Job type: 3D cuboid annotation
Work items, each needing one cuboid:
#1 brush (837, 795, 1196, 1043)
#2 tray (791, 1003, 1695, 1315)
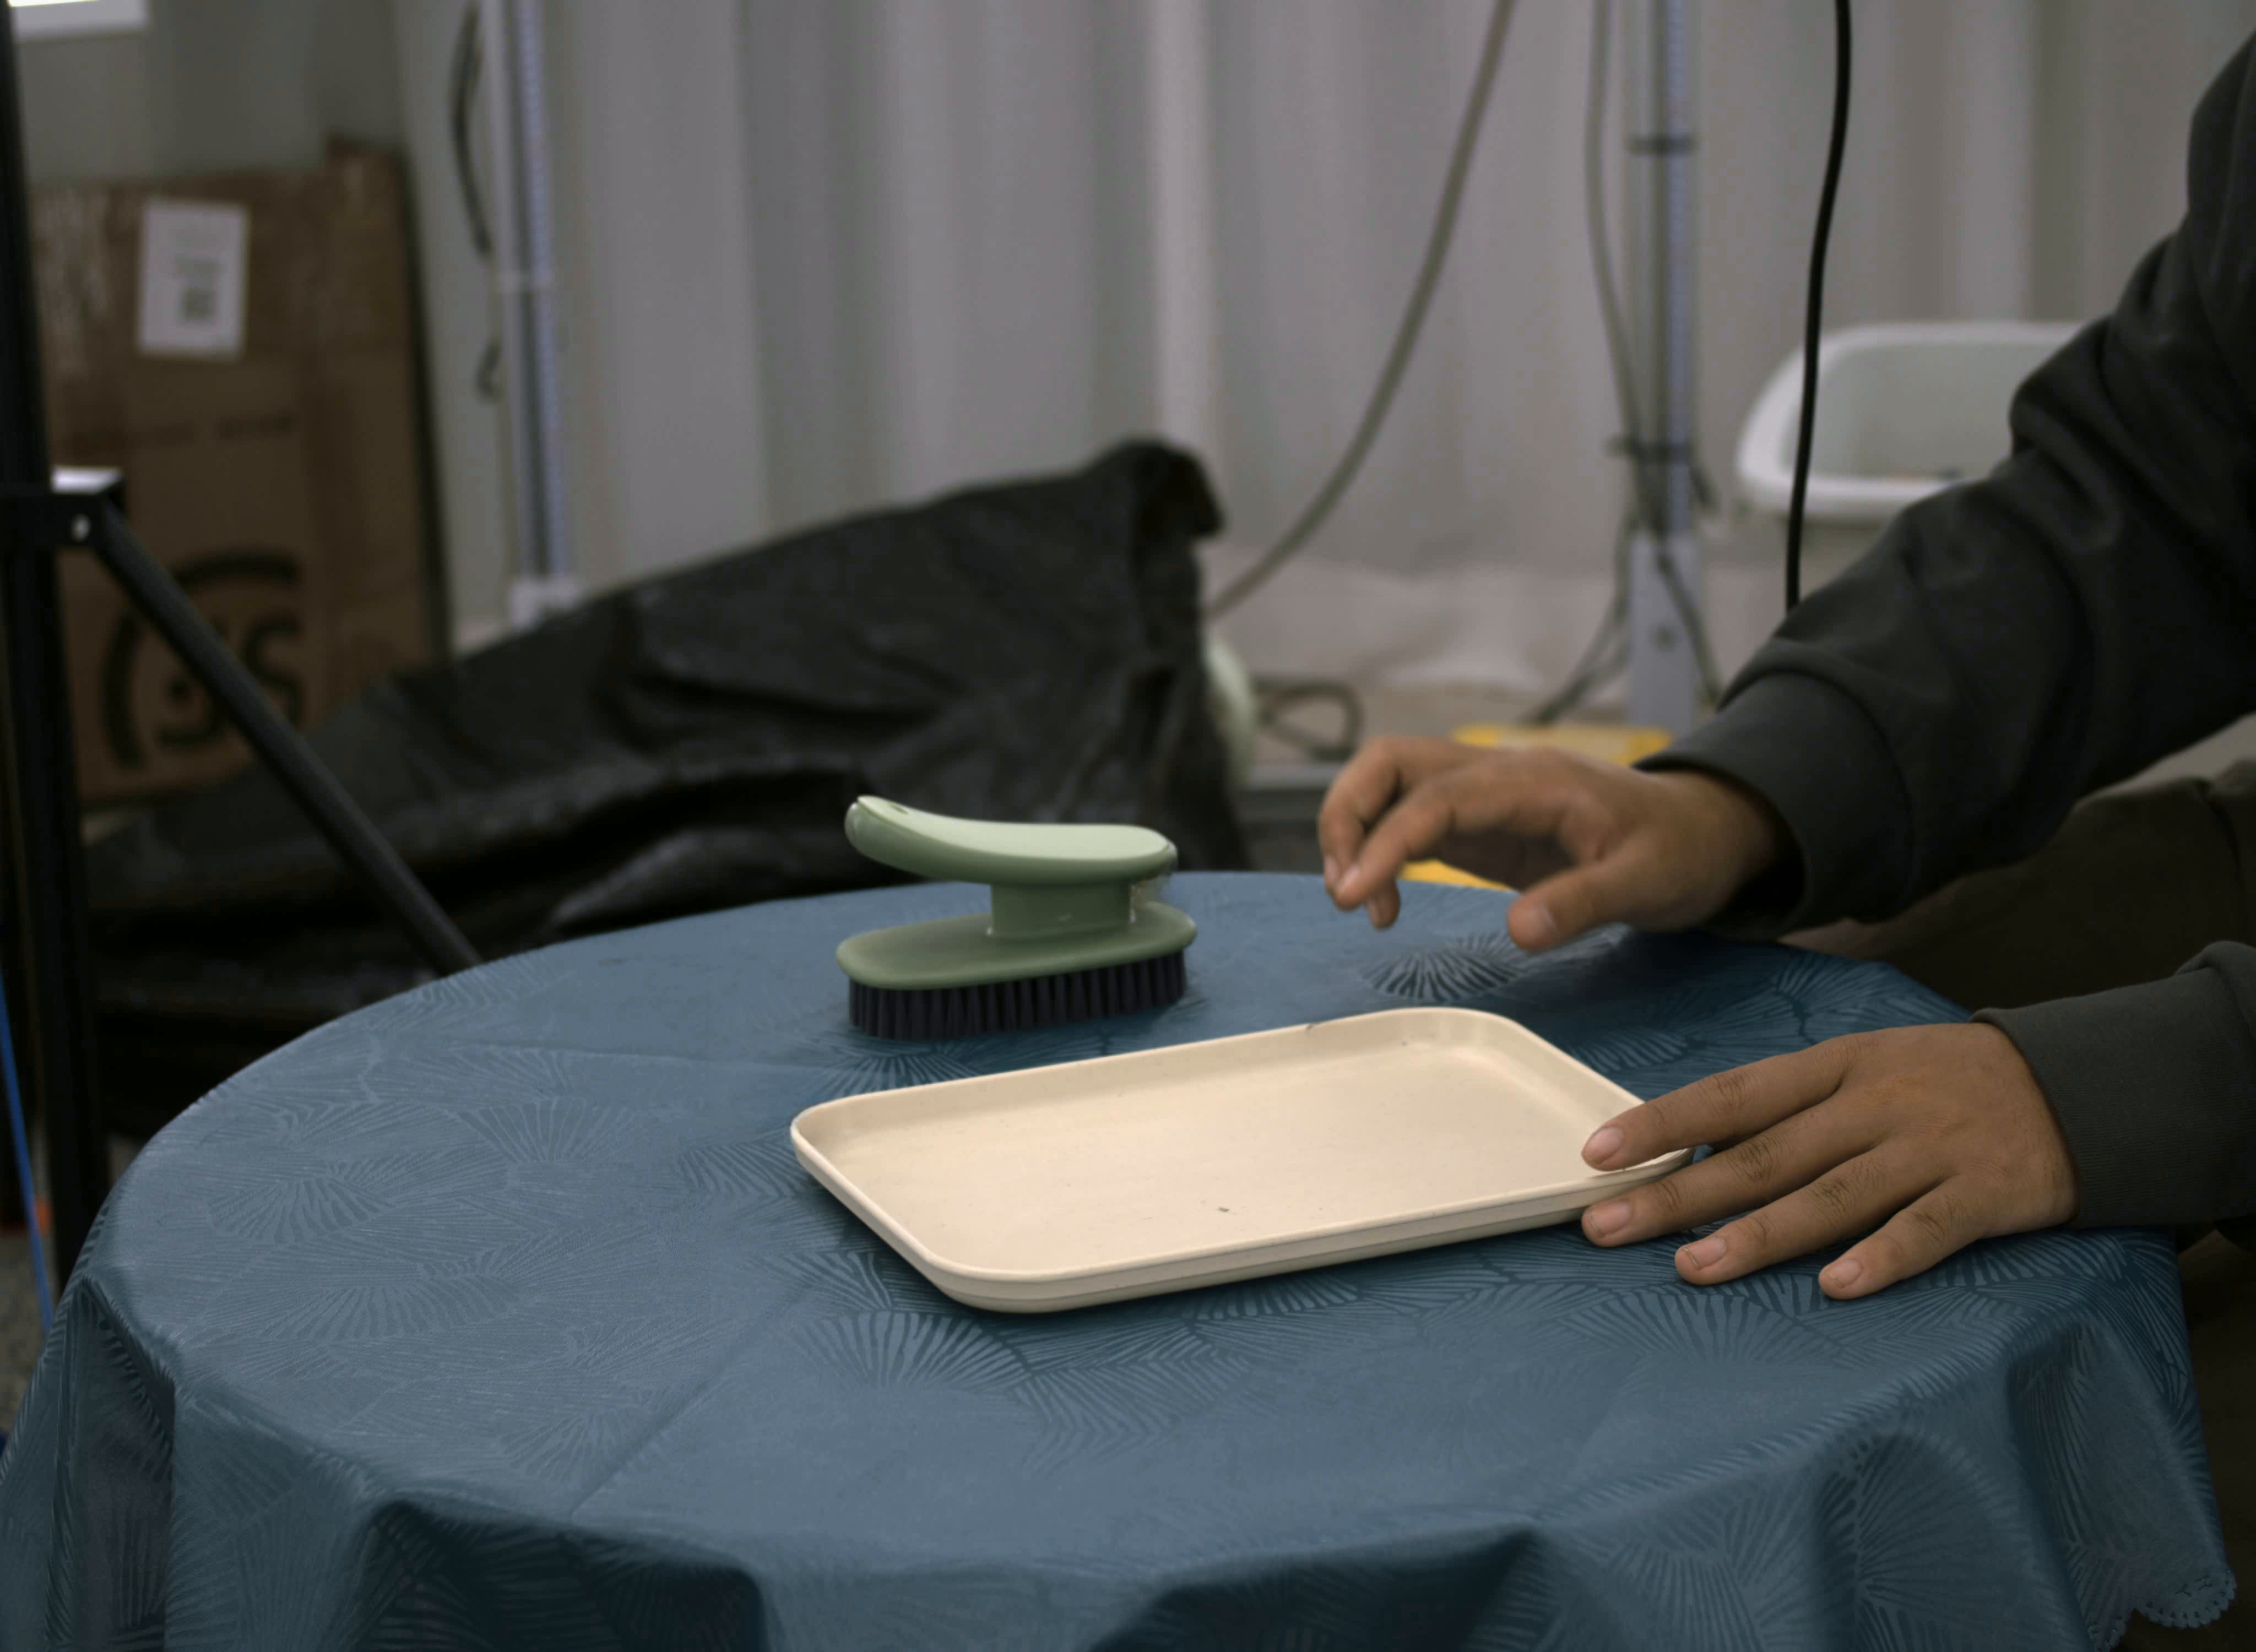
[{"bbox_3d":[-0.038,0.034,1.727,0.120,0.076,0.061,7,12,-22],"label":"brush"},{"bbox_3d":[0.033,0.097,1.557,0.235,0.017,0.174,-8,17,-20],"label":"tray"}]
